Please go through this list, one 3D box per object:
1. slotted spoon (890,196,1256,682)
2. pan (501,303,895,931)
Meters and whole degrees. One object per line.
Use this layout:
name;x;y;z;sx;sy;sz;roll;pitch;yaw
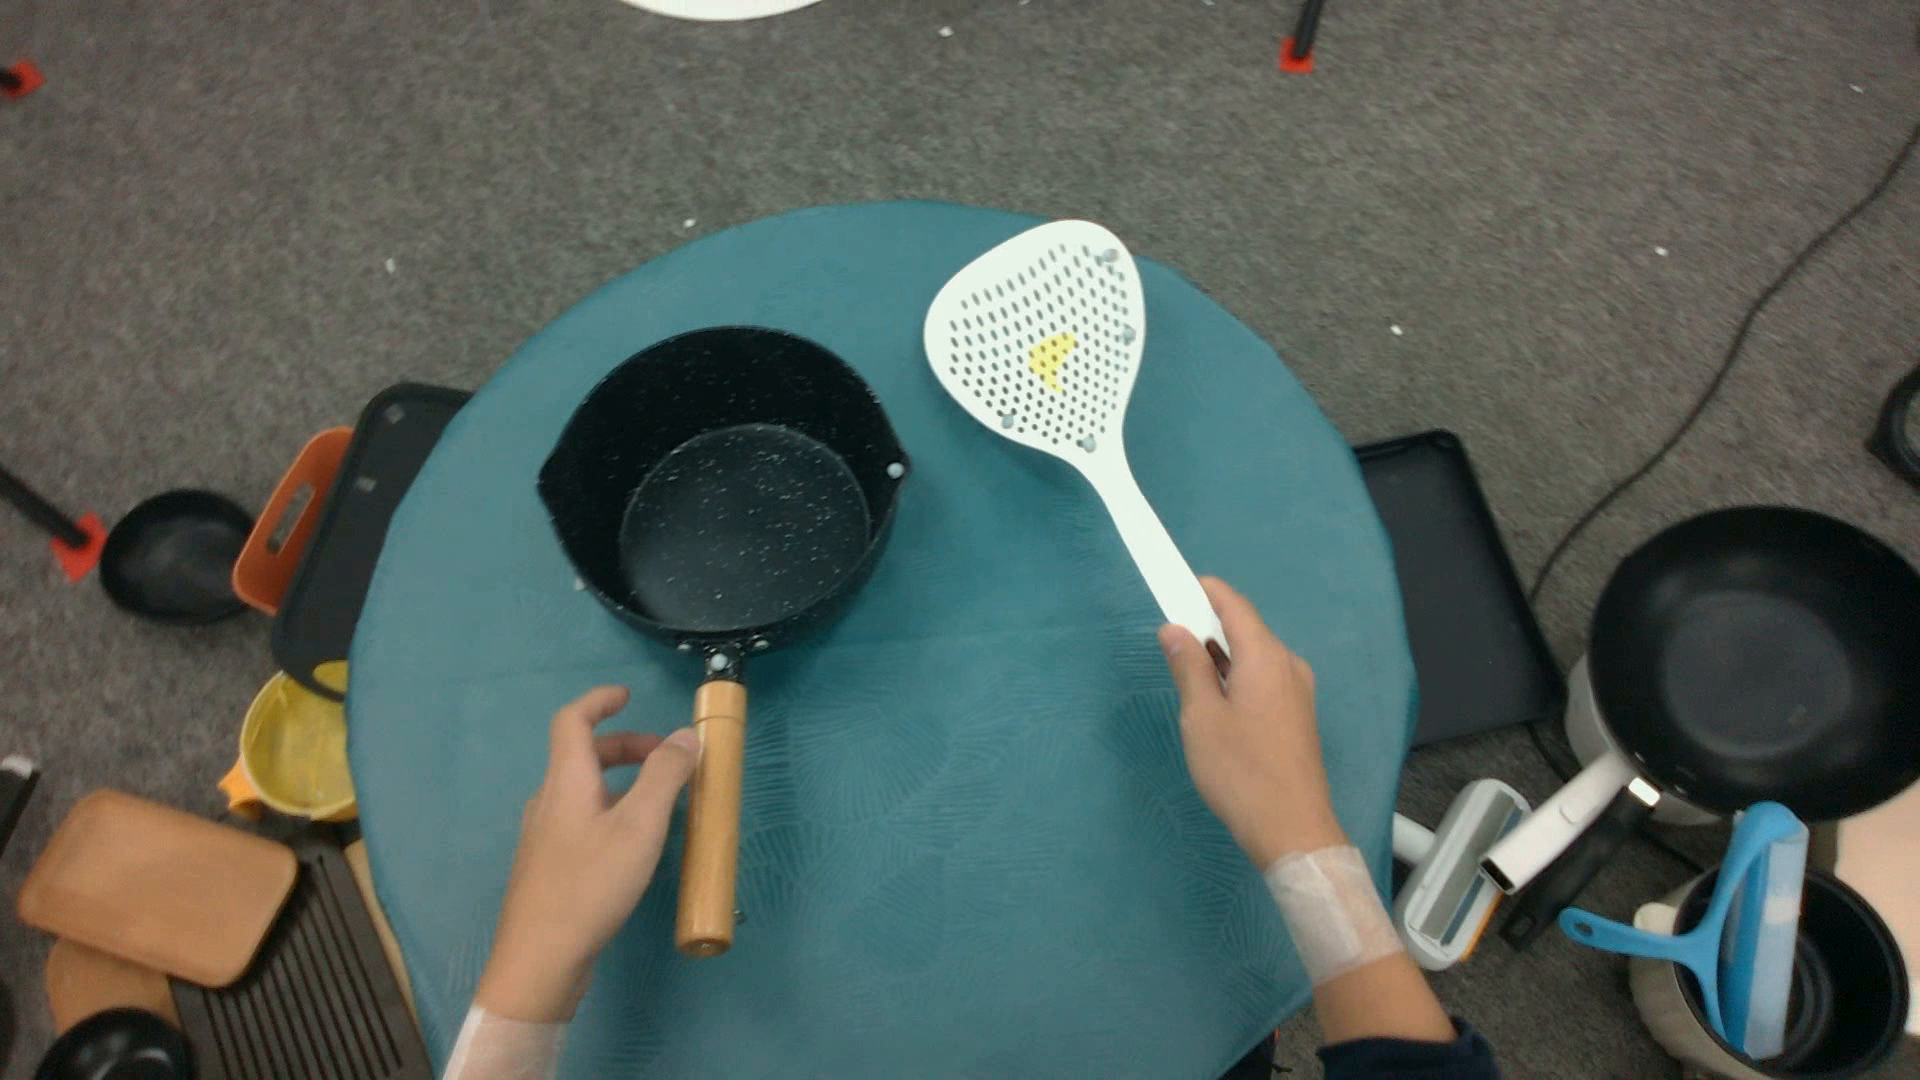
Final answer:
slotted spoon;0.067;-0.062;0.774;0.136;0.050;0.349;-30;52;6
pan;-0.133;0.037;0.726;0.207;0.108;0.344;-4;65;-4
